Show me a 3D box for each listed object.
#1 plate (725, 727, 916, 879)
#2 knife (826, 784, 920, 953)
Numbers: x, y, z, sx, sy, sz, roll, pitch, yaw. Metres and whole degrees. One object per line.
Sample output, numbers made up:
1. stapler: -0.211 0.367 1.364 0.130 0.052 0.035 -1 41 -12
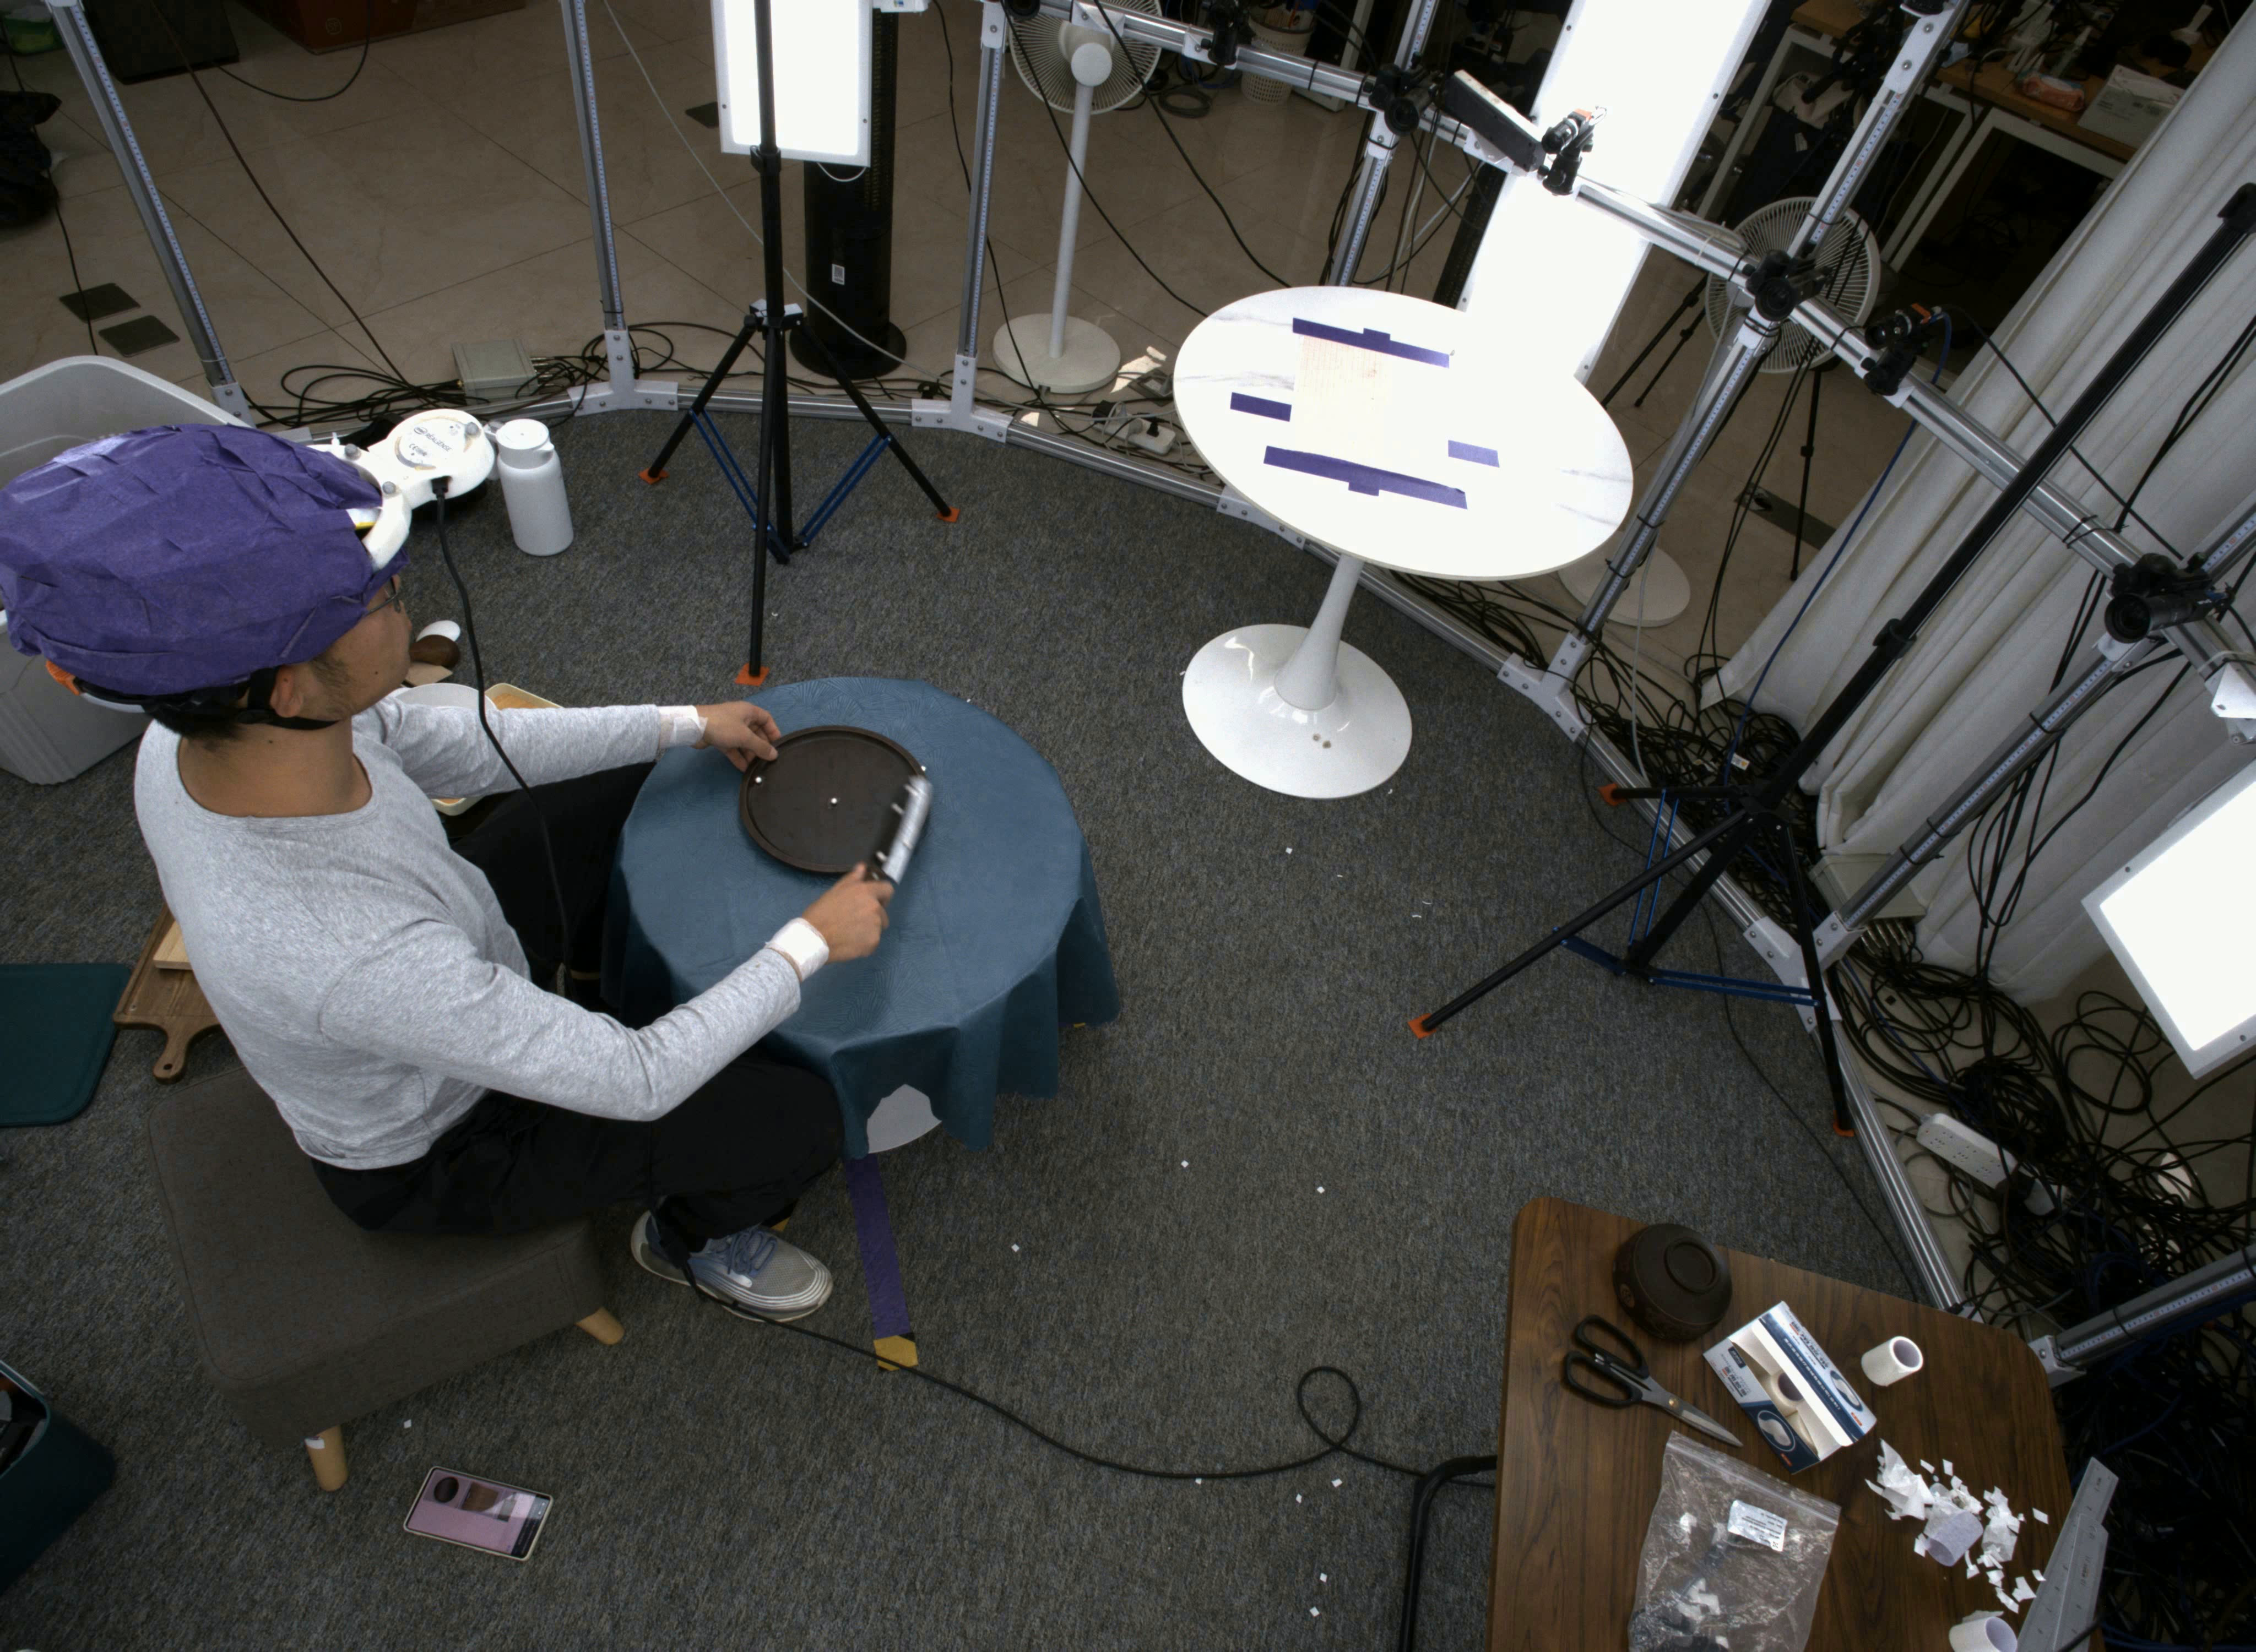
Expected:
1. plate: -0.413 -0.033 1.747 0.254 0.029 0.250 8 55 -9
2. knife: -0.314 0.046 1.624 0.052 0.019 0.285 43 43 -25
